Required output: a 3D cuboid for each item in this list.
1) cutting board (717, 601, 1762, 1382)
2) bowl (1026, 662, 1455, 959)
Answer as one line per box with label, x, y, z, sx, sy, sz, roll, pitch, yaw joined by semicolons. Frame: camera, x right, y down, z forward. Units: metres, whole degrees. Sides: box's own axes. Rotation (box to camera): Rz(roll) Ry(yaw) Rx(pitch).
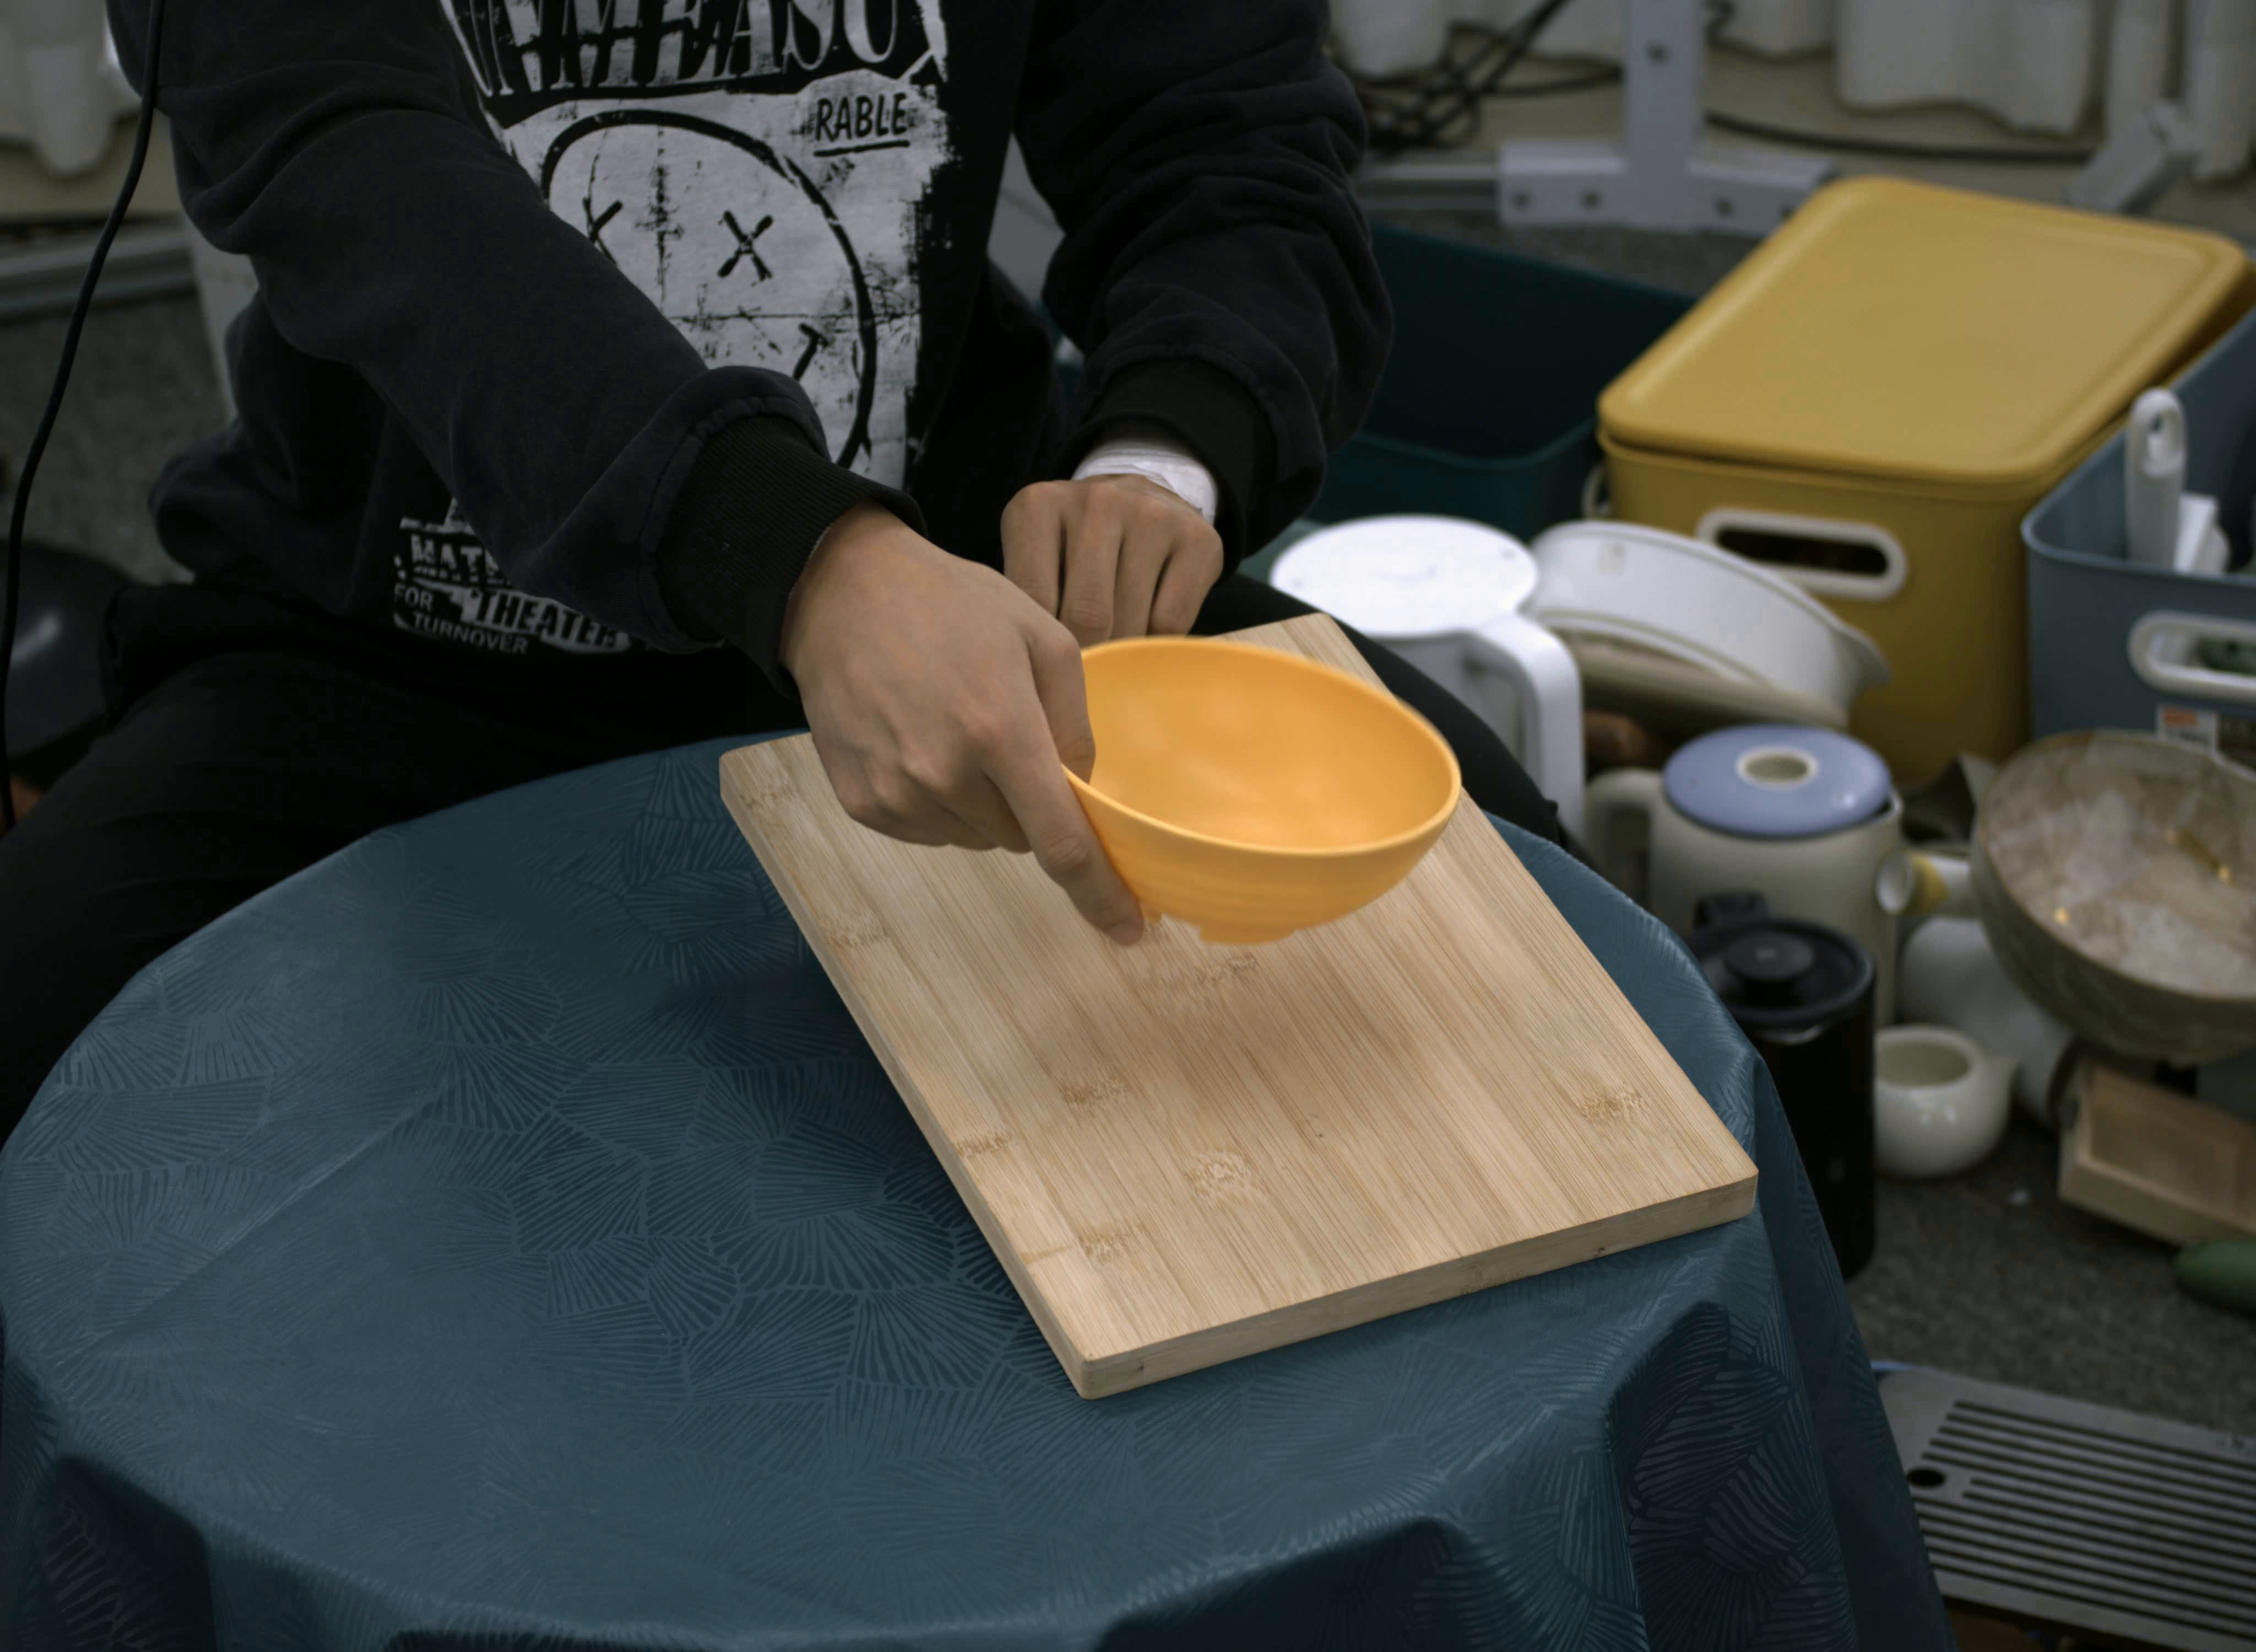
cutting board;0.029;0.048;1.916;0.251;0.023;0.352;-14;39;-20
bowl;0.031;0.002;1.844;0.145;0.059;0.147;11;23;-4
